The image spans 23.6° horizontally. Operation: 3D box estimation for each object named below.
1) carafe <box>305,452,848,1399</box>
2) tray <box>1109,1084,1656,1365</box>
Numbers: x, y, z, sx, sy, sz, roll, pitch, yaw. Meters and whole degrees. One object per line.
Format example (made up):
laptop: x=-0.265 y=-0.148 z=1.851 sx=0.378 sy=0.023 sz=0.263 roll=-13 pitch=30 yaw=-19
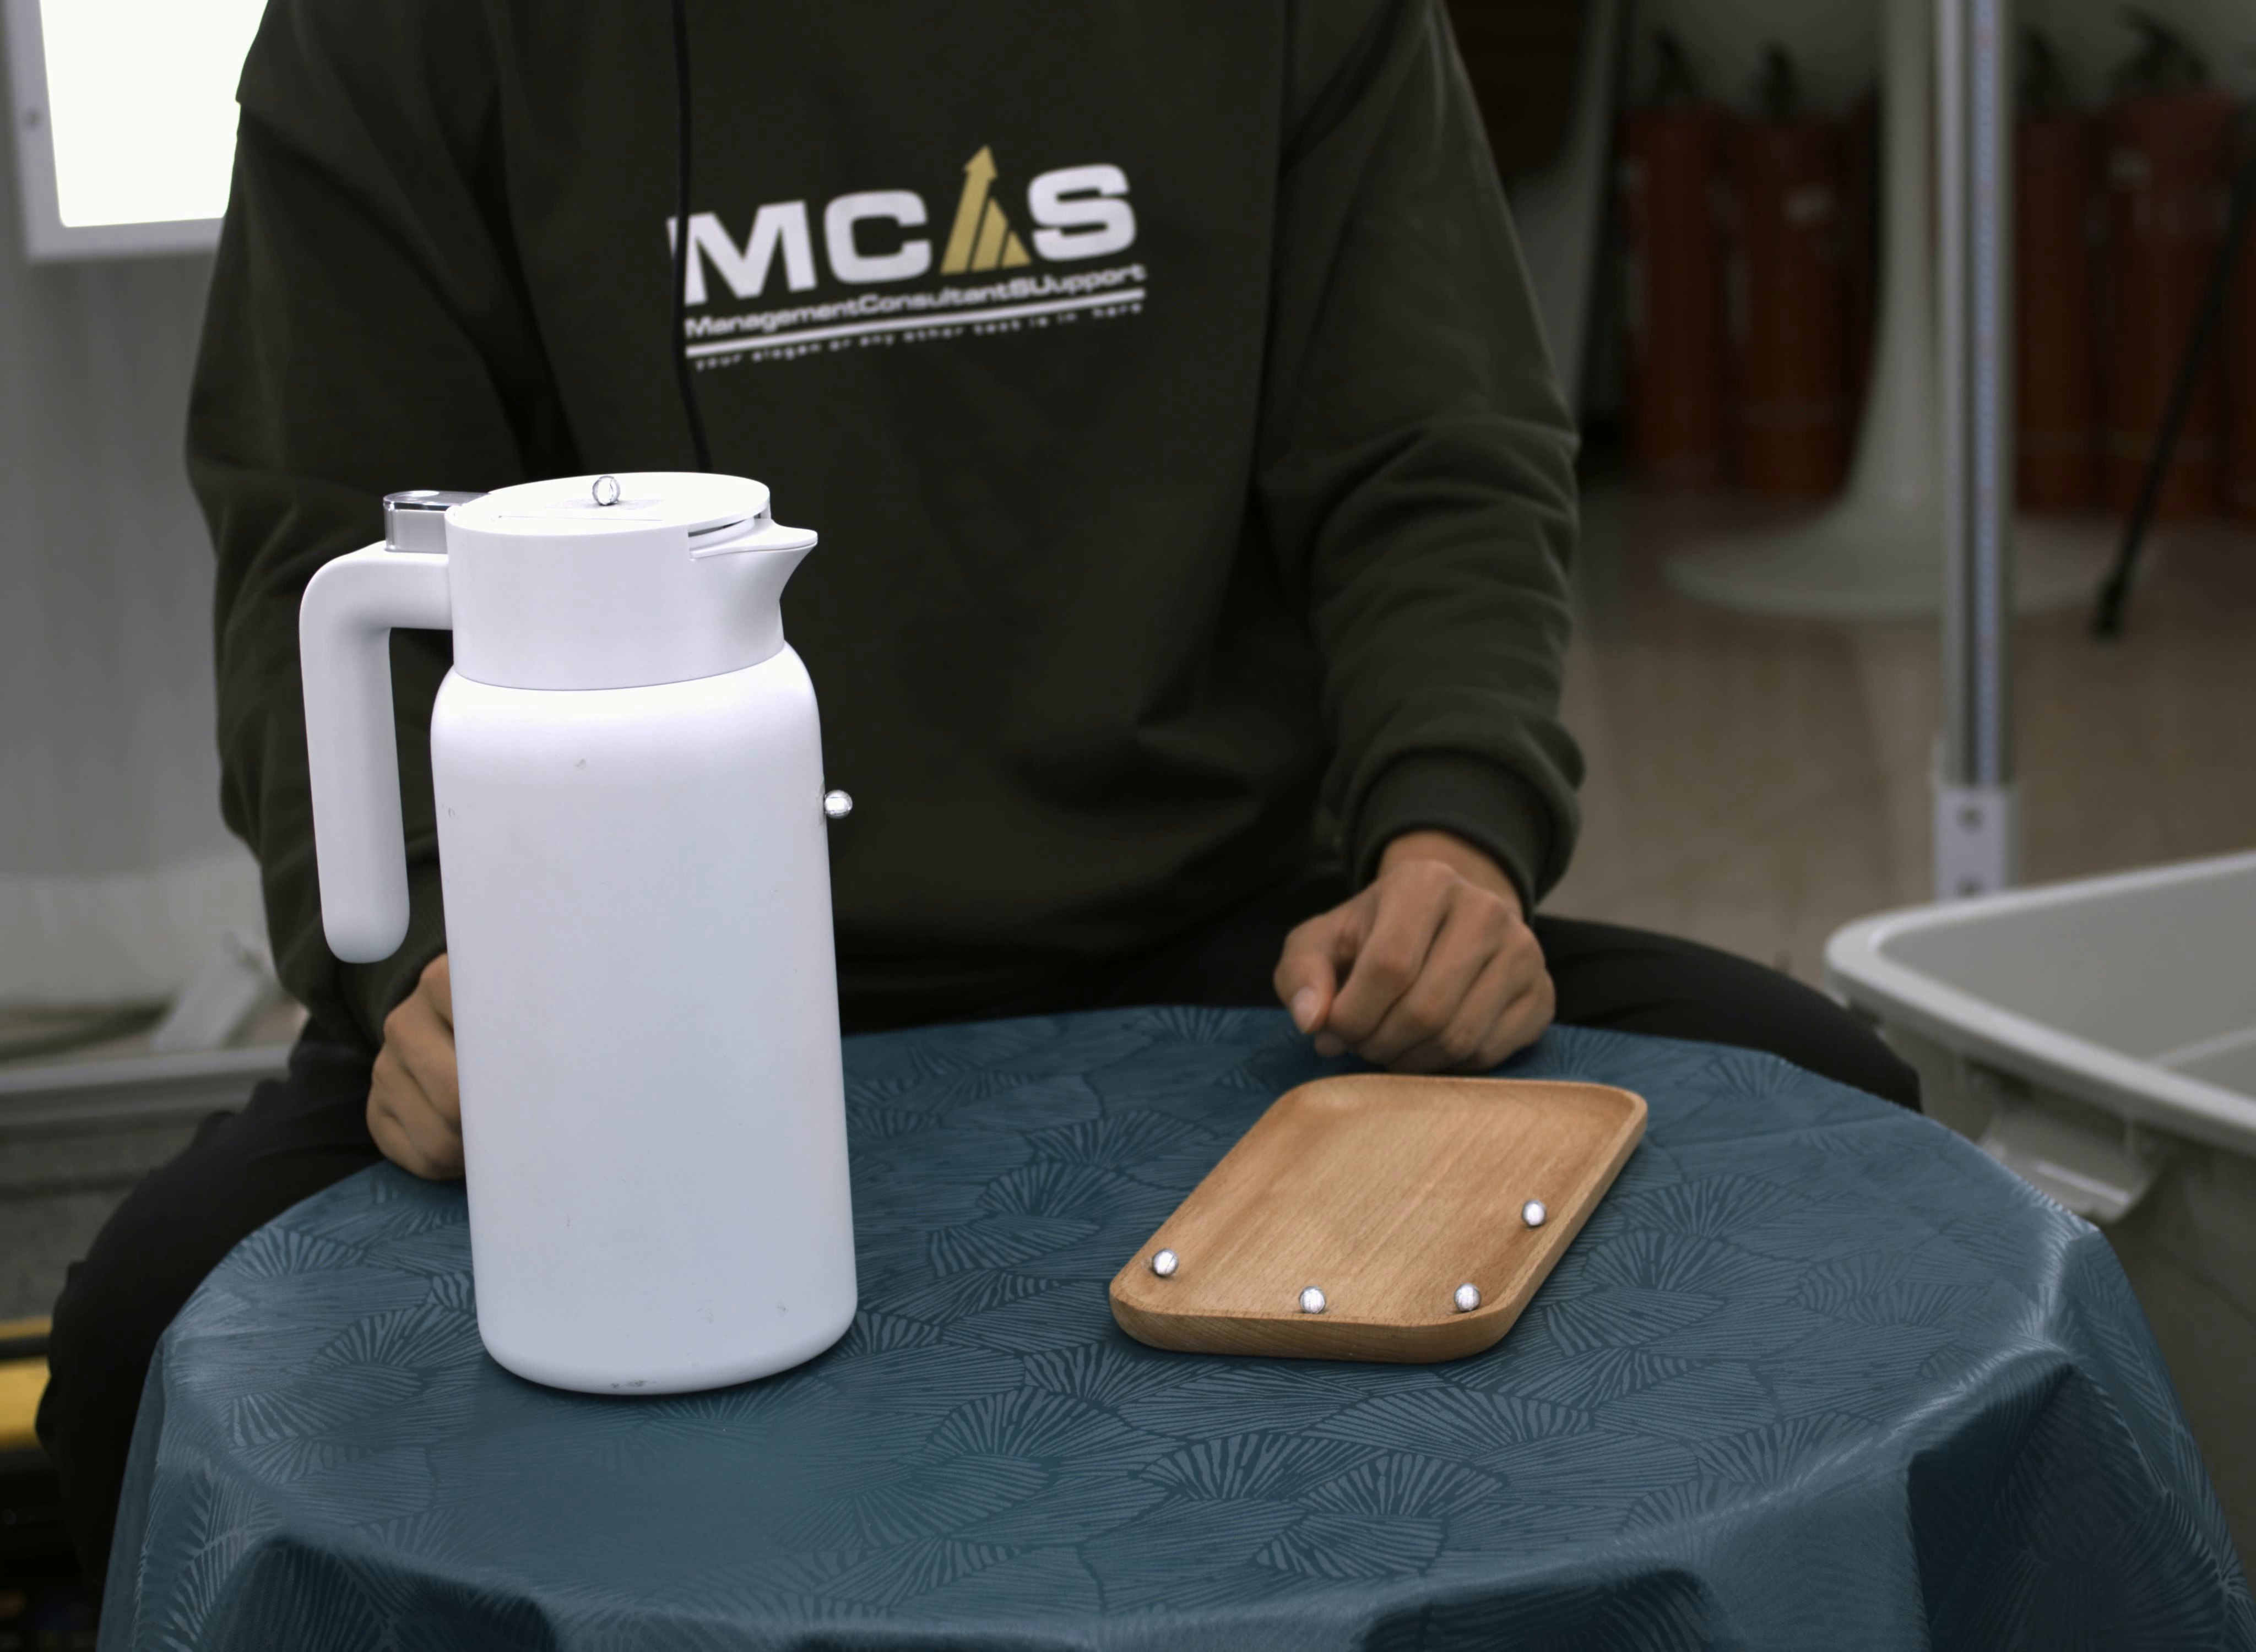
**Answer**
carafe: x=-0.164 y=0.028 z=1.632 sx=0.173 sy=0.272 sz=0.122 roll=3 pitch=15 yaw=24
tray: x=0.085 y=0.124 z=1.711 sx=0.130 sy=0.023 sz=0.248 roll=3 pitch=14 yaw=19
